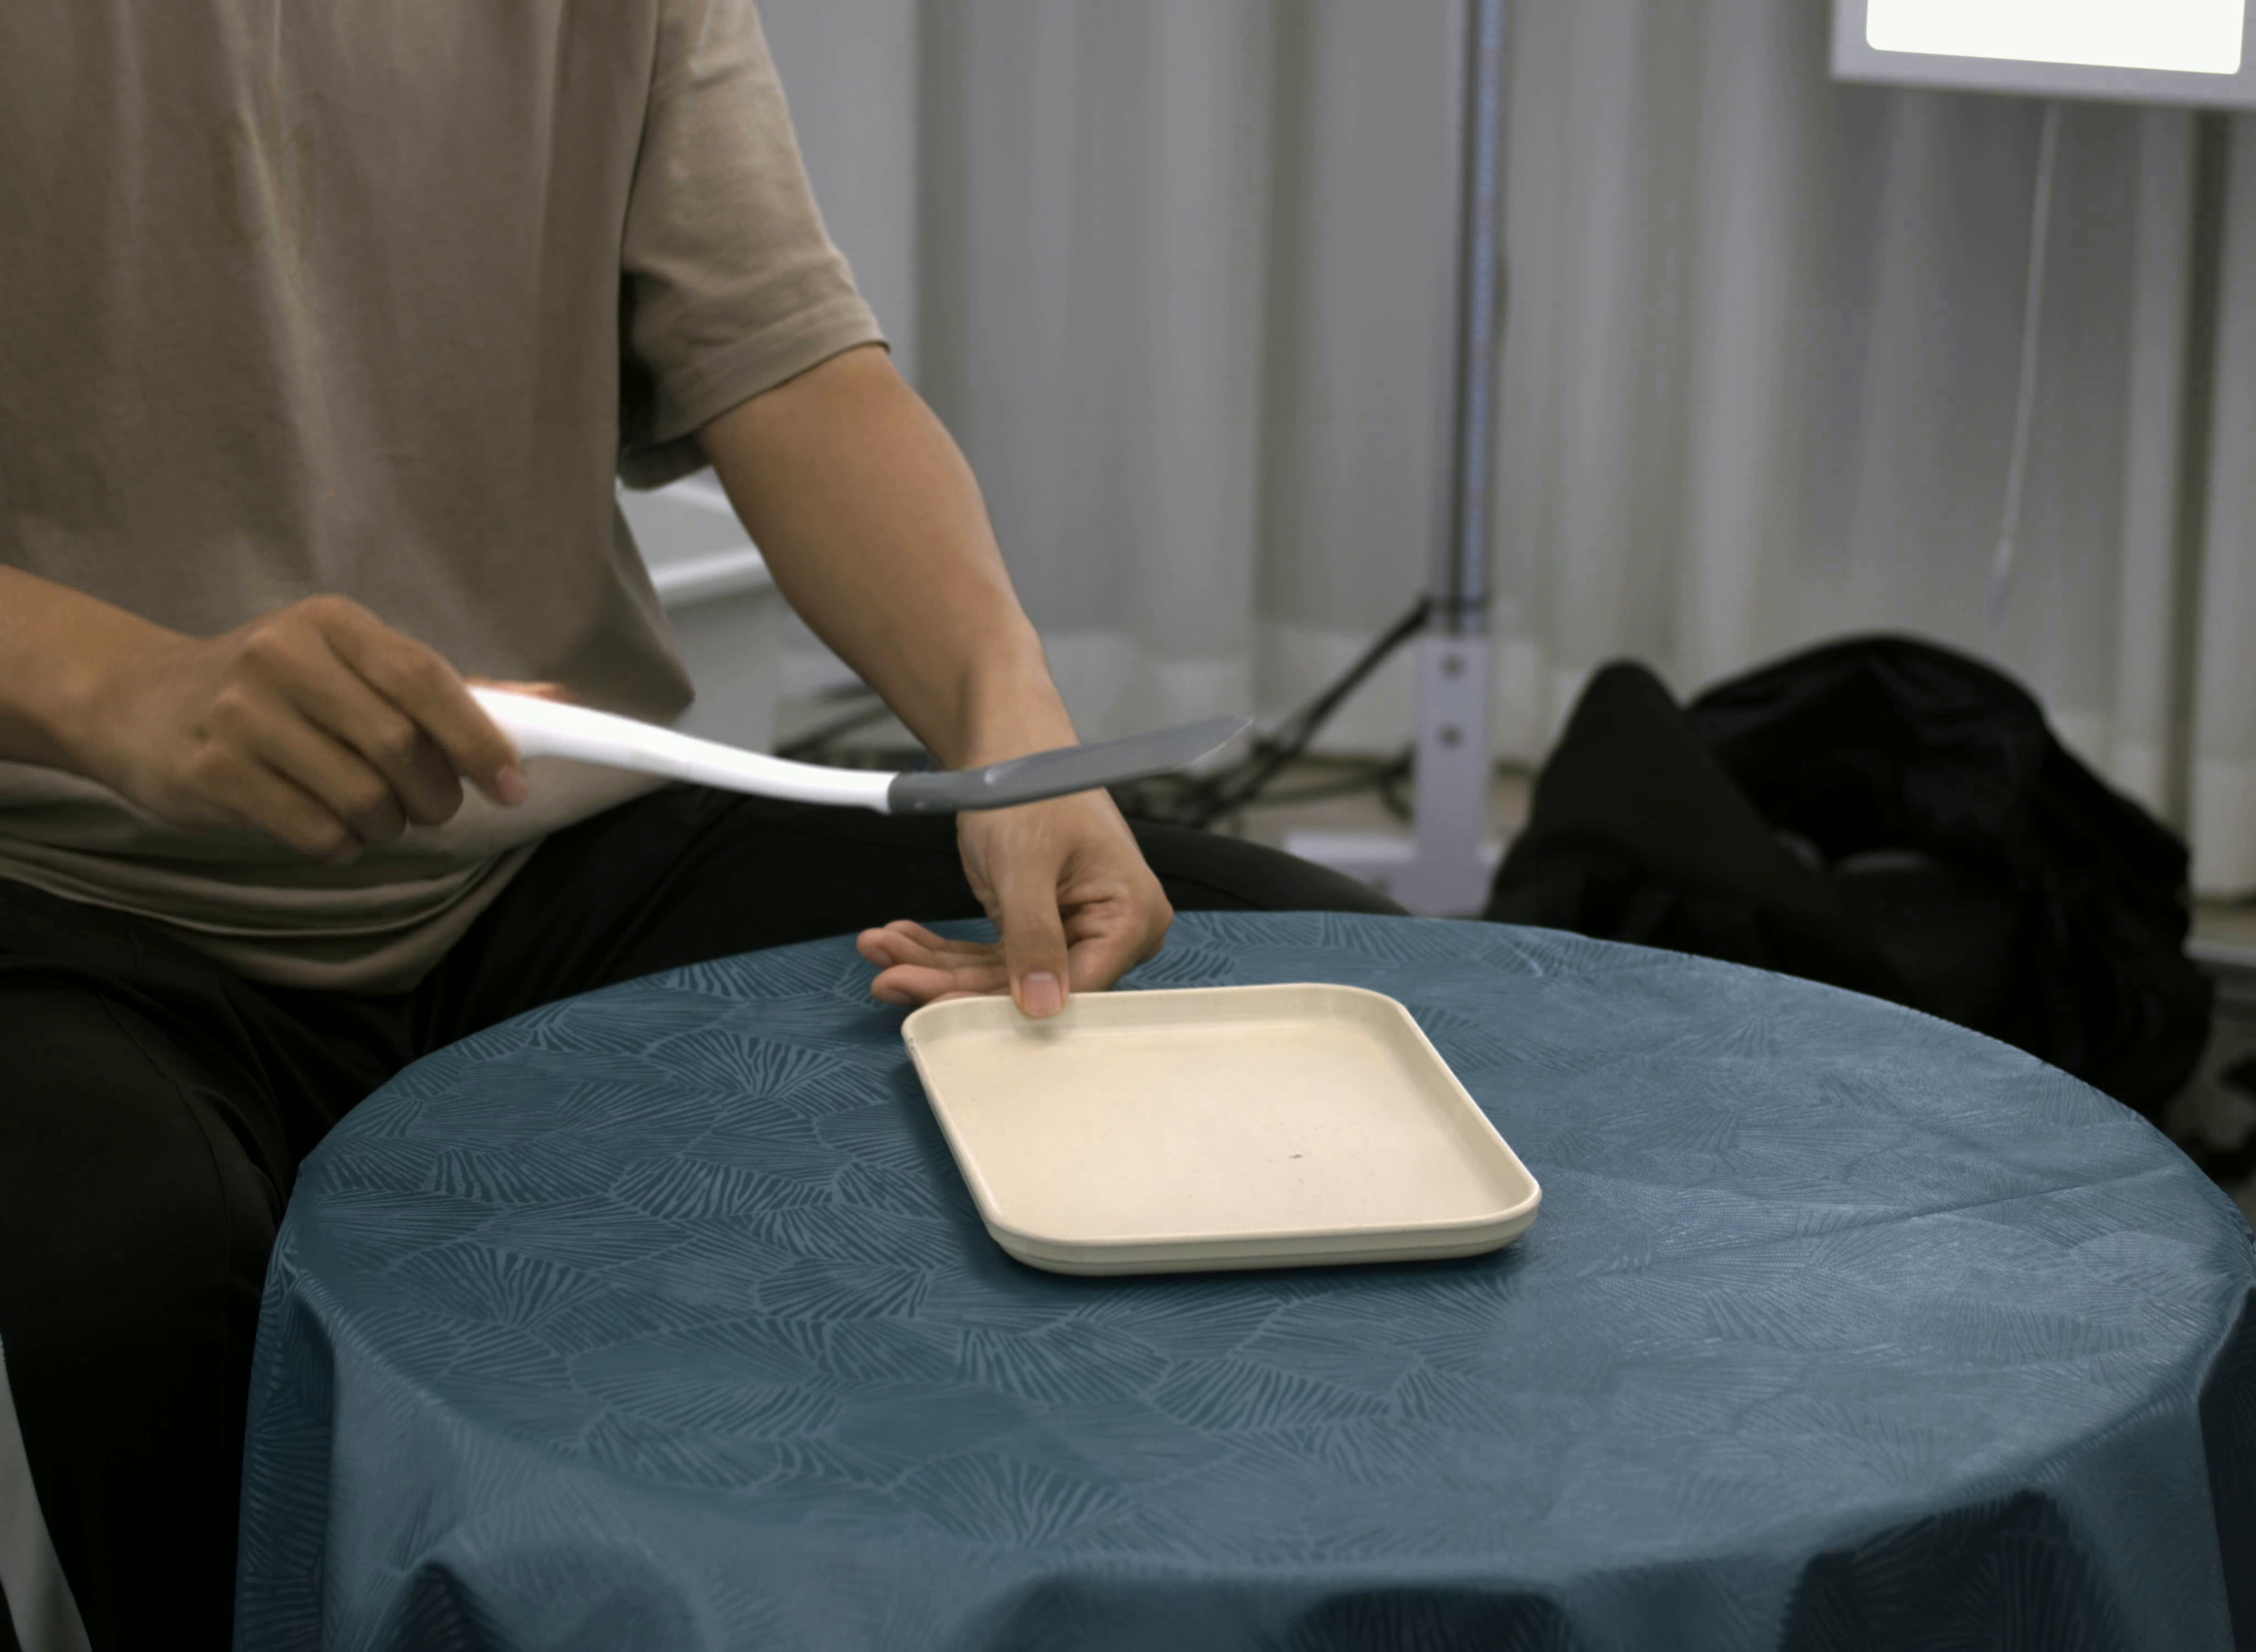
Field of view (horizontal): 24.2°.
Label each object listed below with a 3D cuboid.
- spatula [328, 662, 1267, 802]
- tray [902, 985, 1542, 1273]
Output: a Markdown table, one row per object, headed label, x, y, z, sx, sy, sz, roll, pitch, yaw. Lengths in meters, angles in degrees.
| label | x | y | z | sx | sy | sz | roll | pitch | yaw |
| --- | --- | --- | --- | --- | --- | --- | --- | --- | --- |
| spatula | -0.099 | -0.025 | 1.526 | 0.285 | 0.032 | 0.059 | 3 | 14 | 20 |
| tray | 0.025 | 0.094 | 1.658 | 0.171 | 0.017 | 0.237 | -1 | 16 | -11 |
